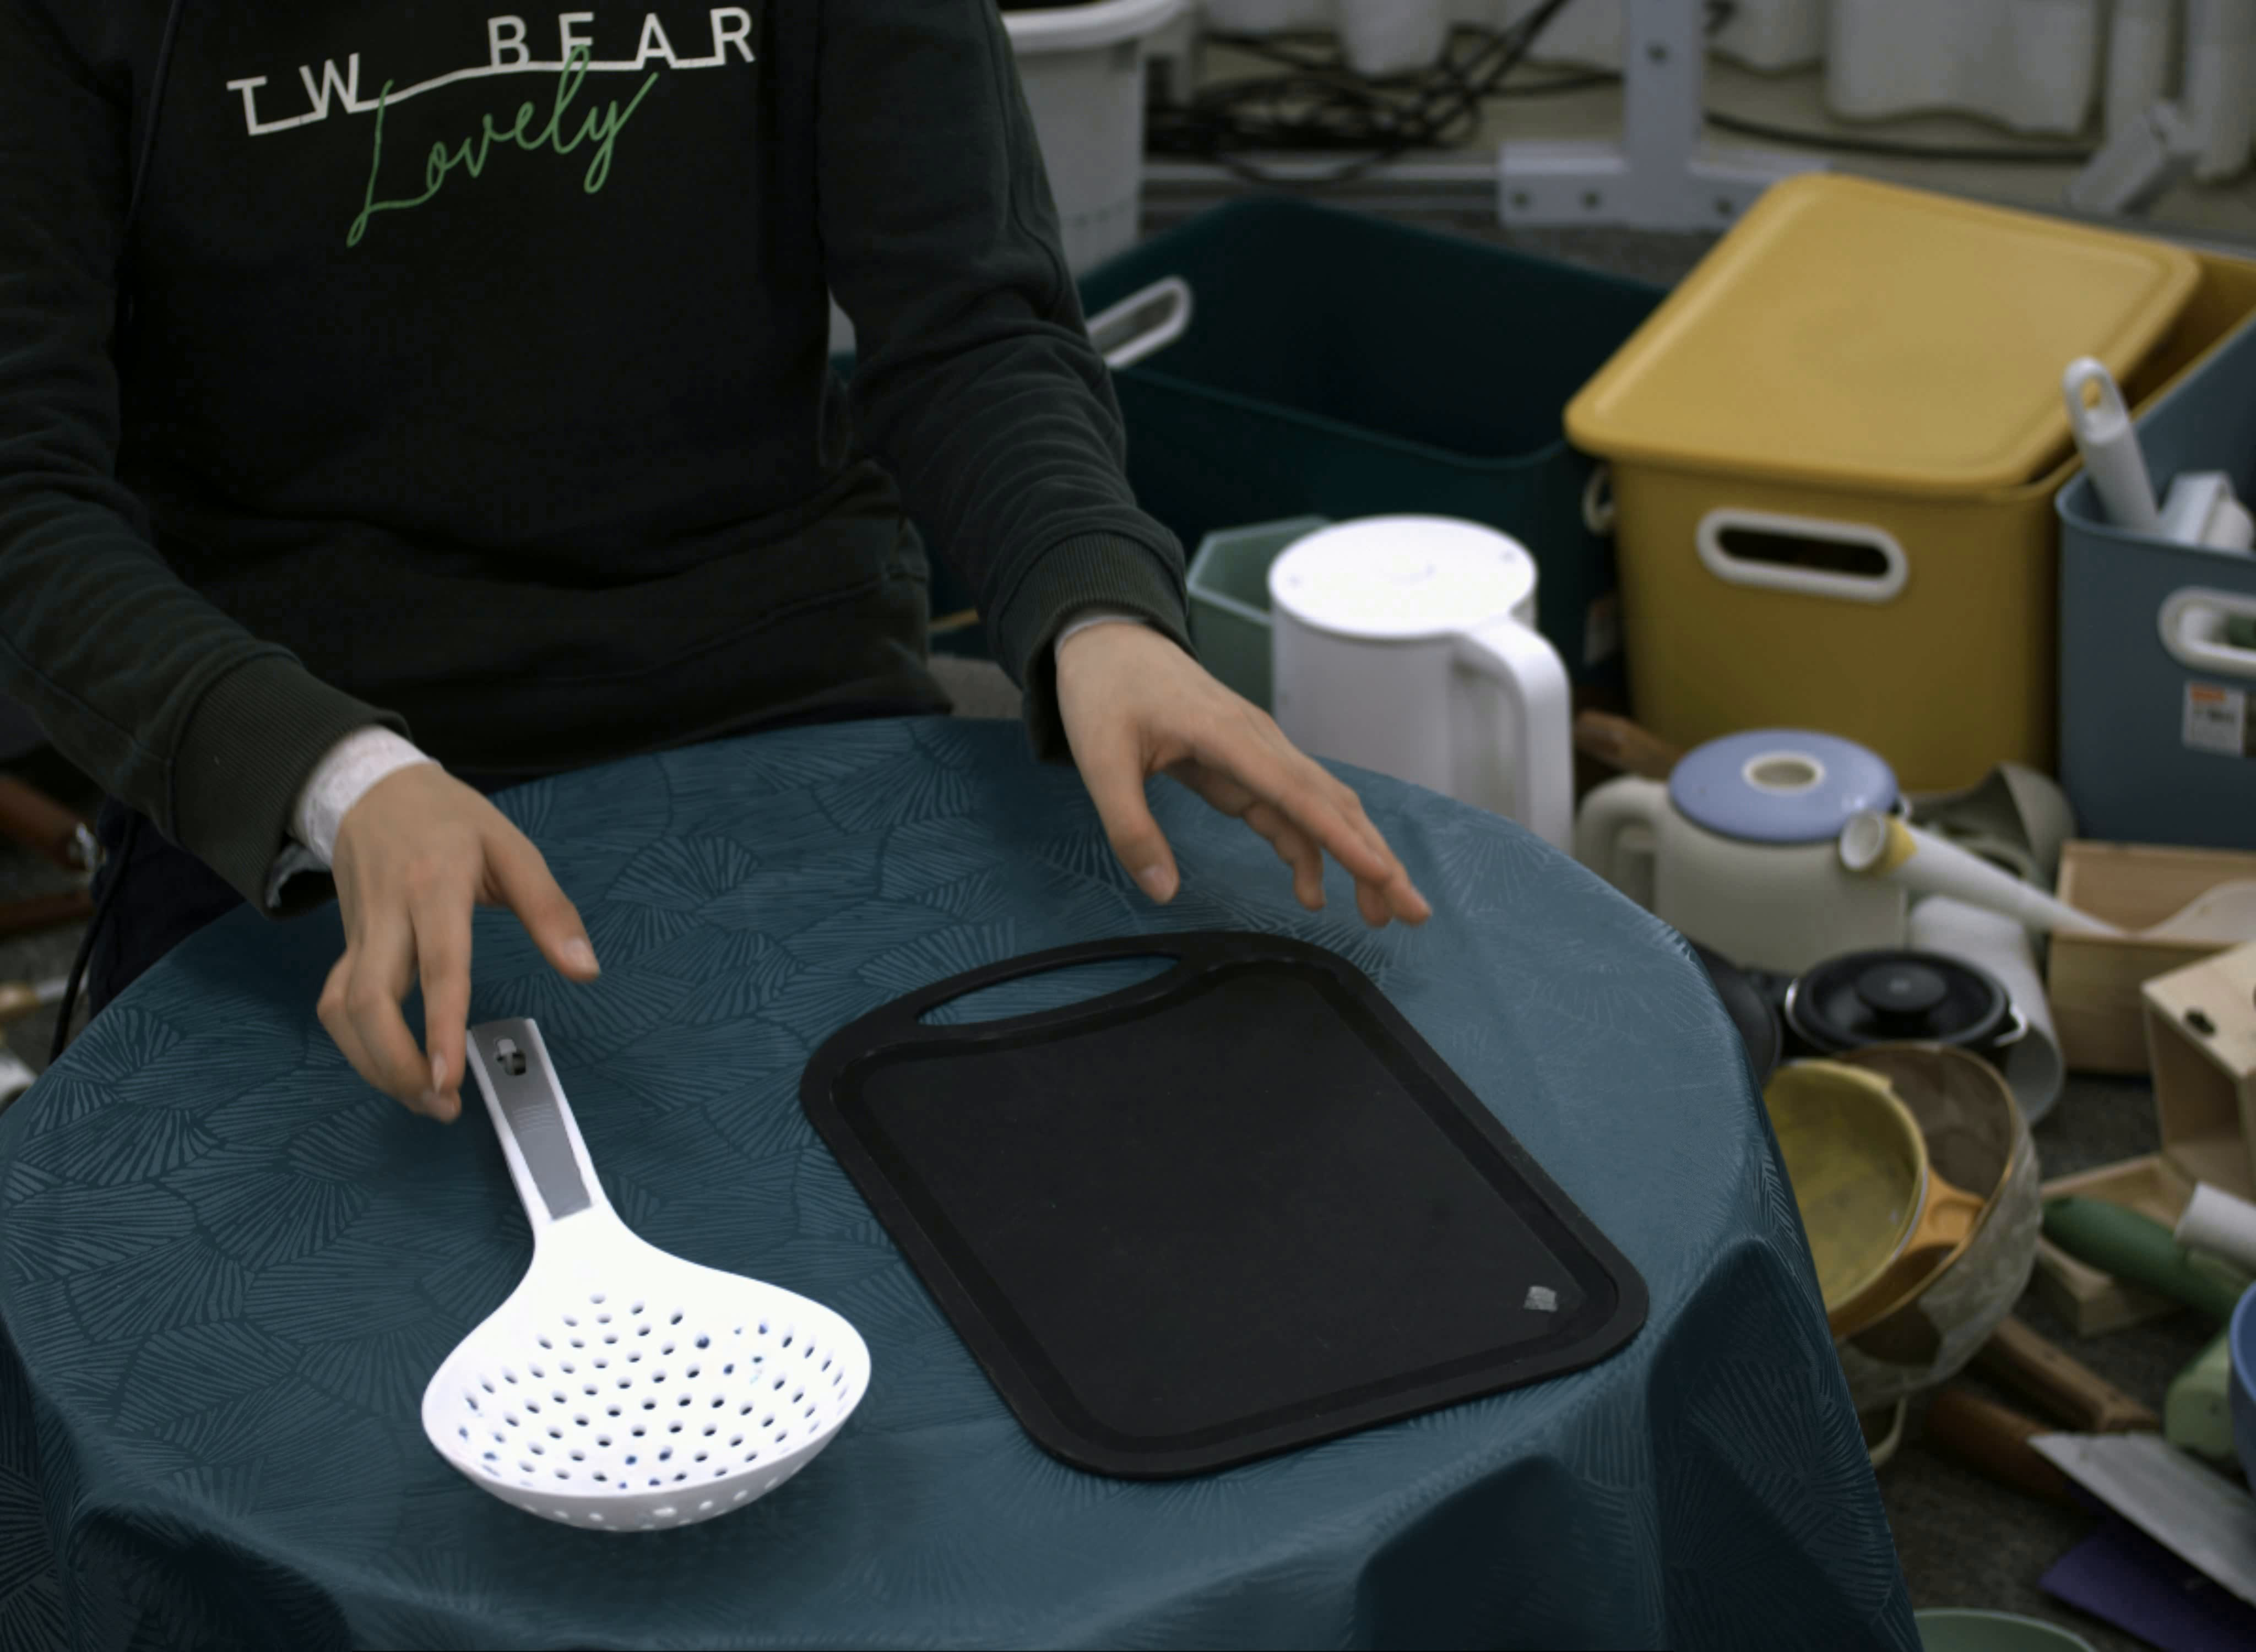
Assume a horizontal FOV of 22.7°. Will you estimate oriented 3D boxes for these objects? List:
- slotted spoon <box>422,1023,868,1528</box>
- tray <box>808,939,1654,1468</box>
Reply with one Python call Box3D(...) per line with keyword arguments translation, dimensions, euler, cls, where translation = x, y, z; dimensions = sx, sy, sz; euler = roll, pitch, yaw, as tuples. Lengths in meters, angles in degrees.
Box3D(translation=(-0.174, 0.137, 1.799), dimensions=(0.136, 0.045, 0.353), euler=(-8, 27, -13), cls="slotted spoon")
Box3D(translation=(0.024, 0.115, 1.864), dimensions=(0.211, 0.009, 0.328), euler=(-12, 28, -18), cls="tray")
